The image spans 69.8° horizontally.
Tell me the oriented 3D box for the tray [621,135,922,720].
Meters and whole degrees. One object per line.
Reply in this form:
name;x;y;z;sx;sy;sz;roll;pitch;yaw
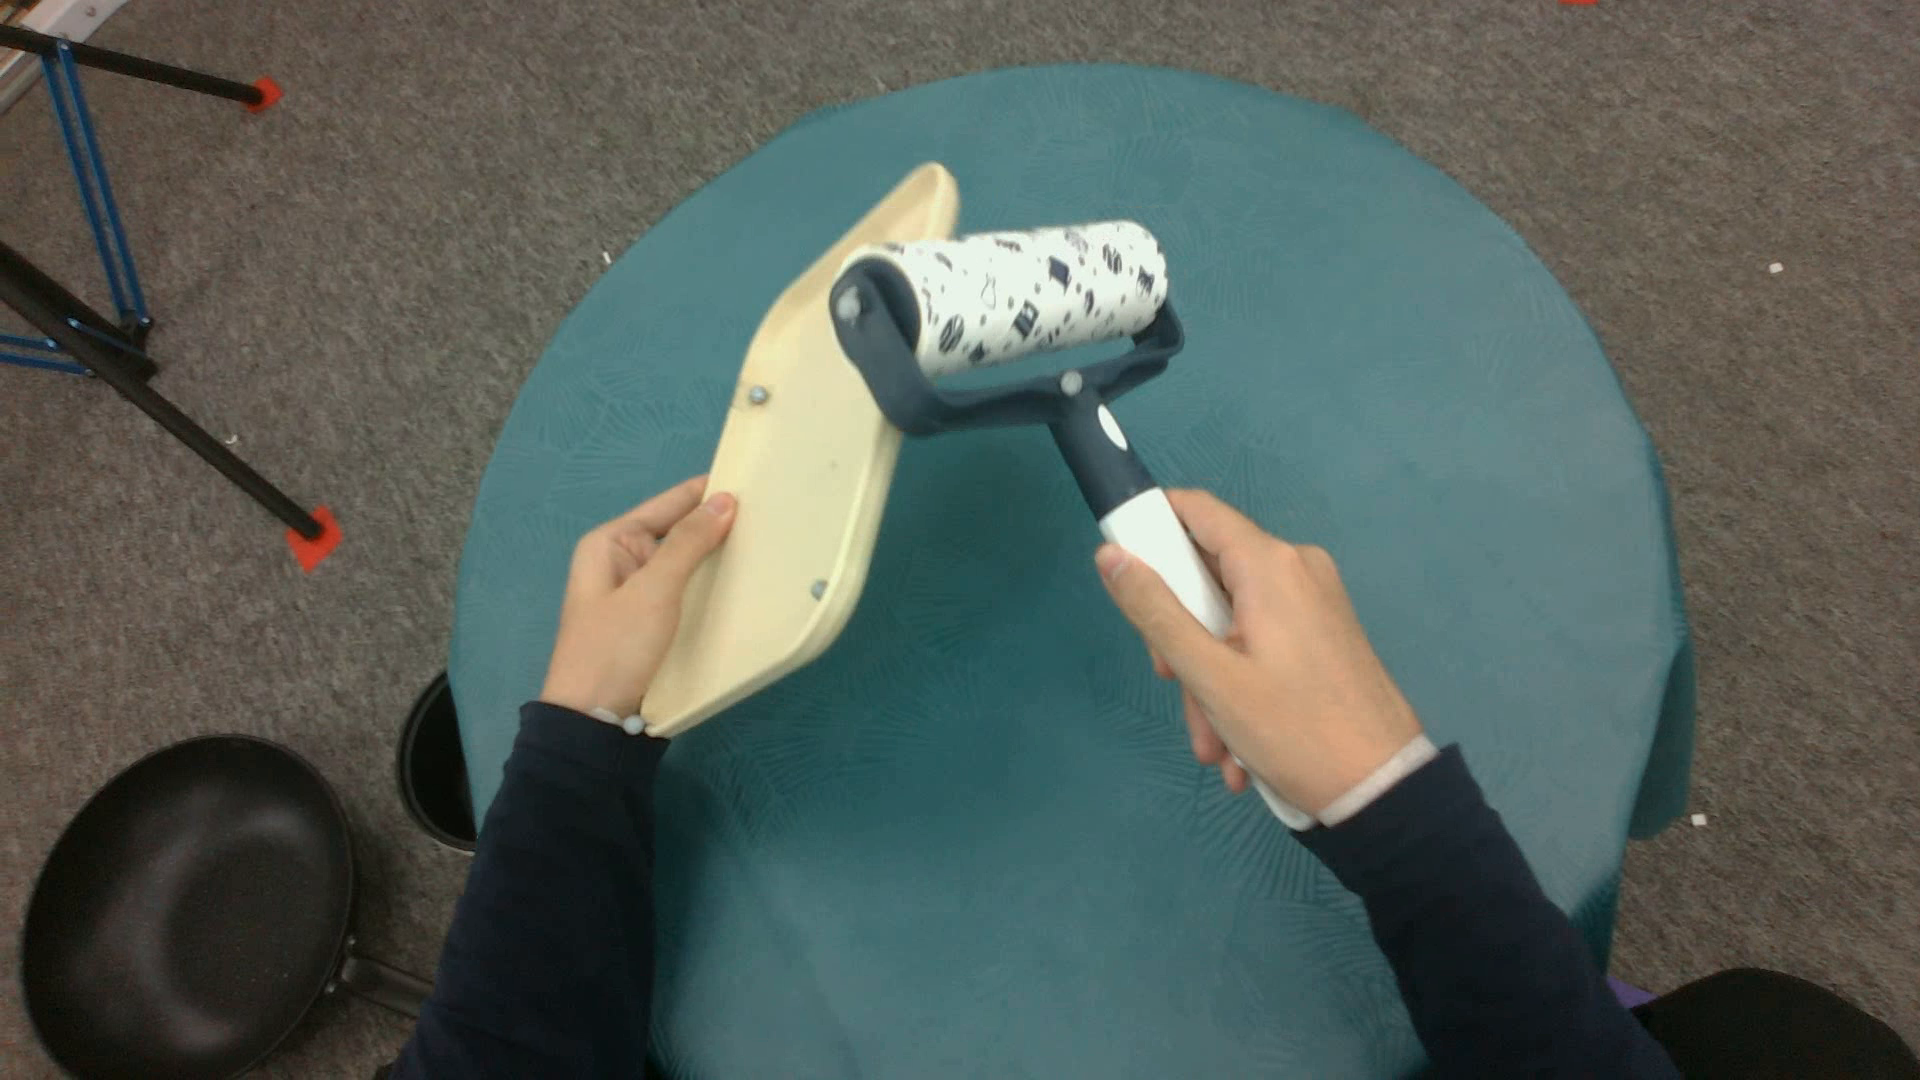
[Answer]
tray;-0.077;-0.047;0.578;0.017;0.170;0.240;26;57;-27

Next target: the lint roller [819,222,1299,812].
lint roller;0.065;-0.012;0.525;0.050;0.177;0.247;-37;81;38
